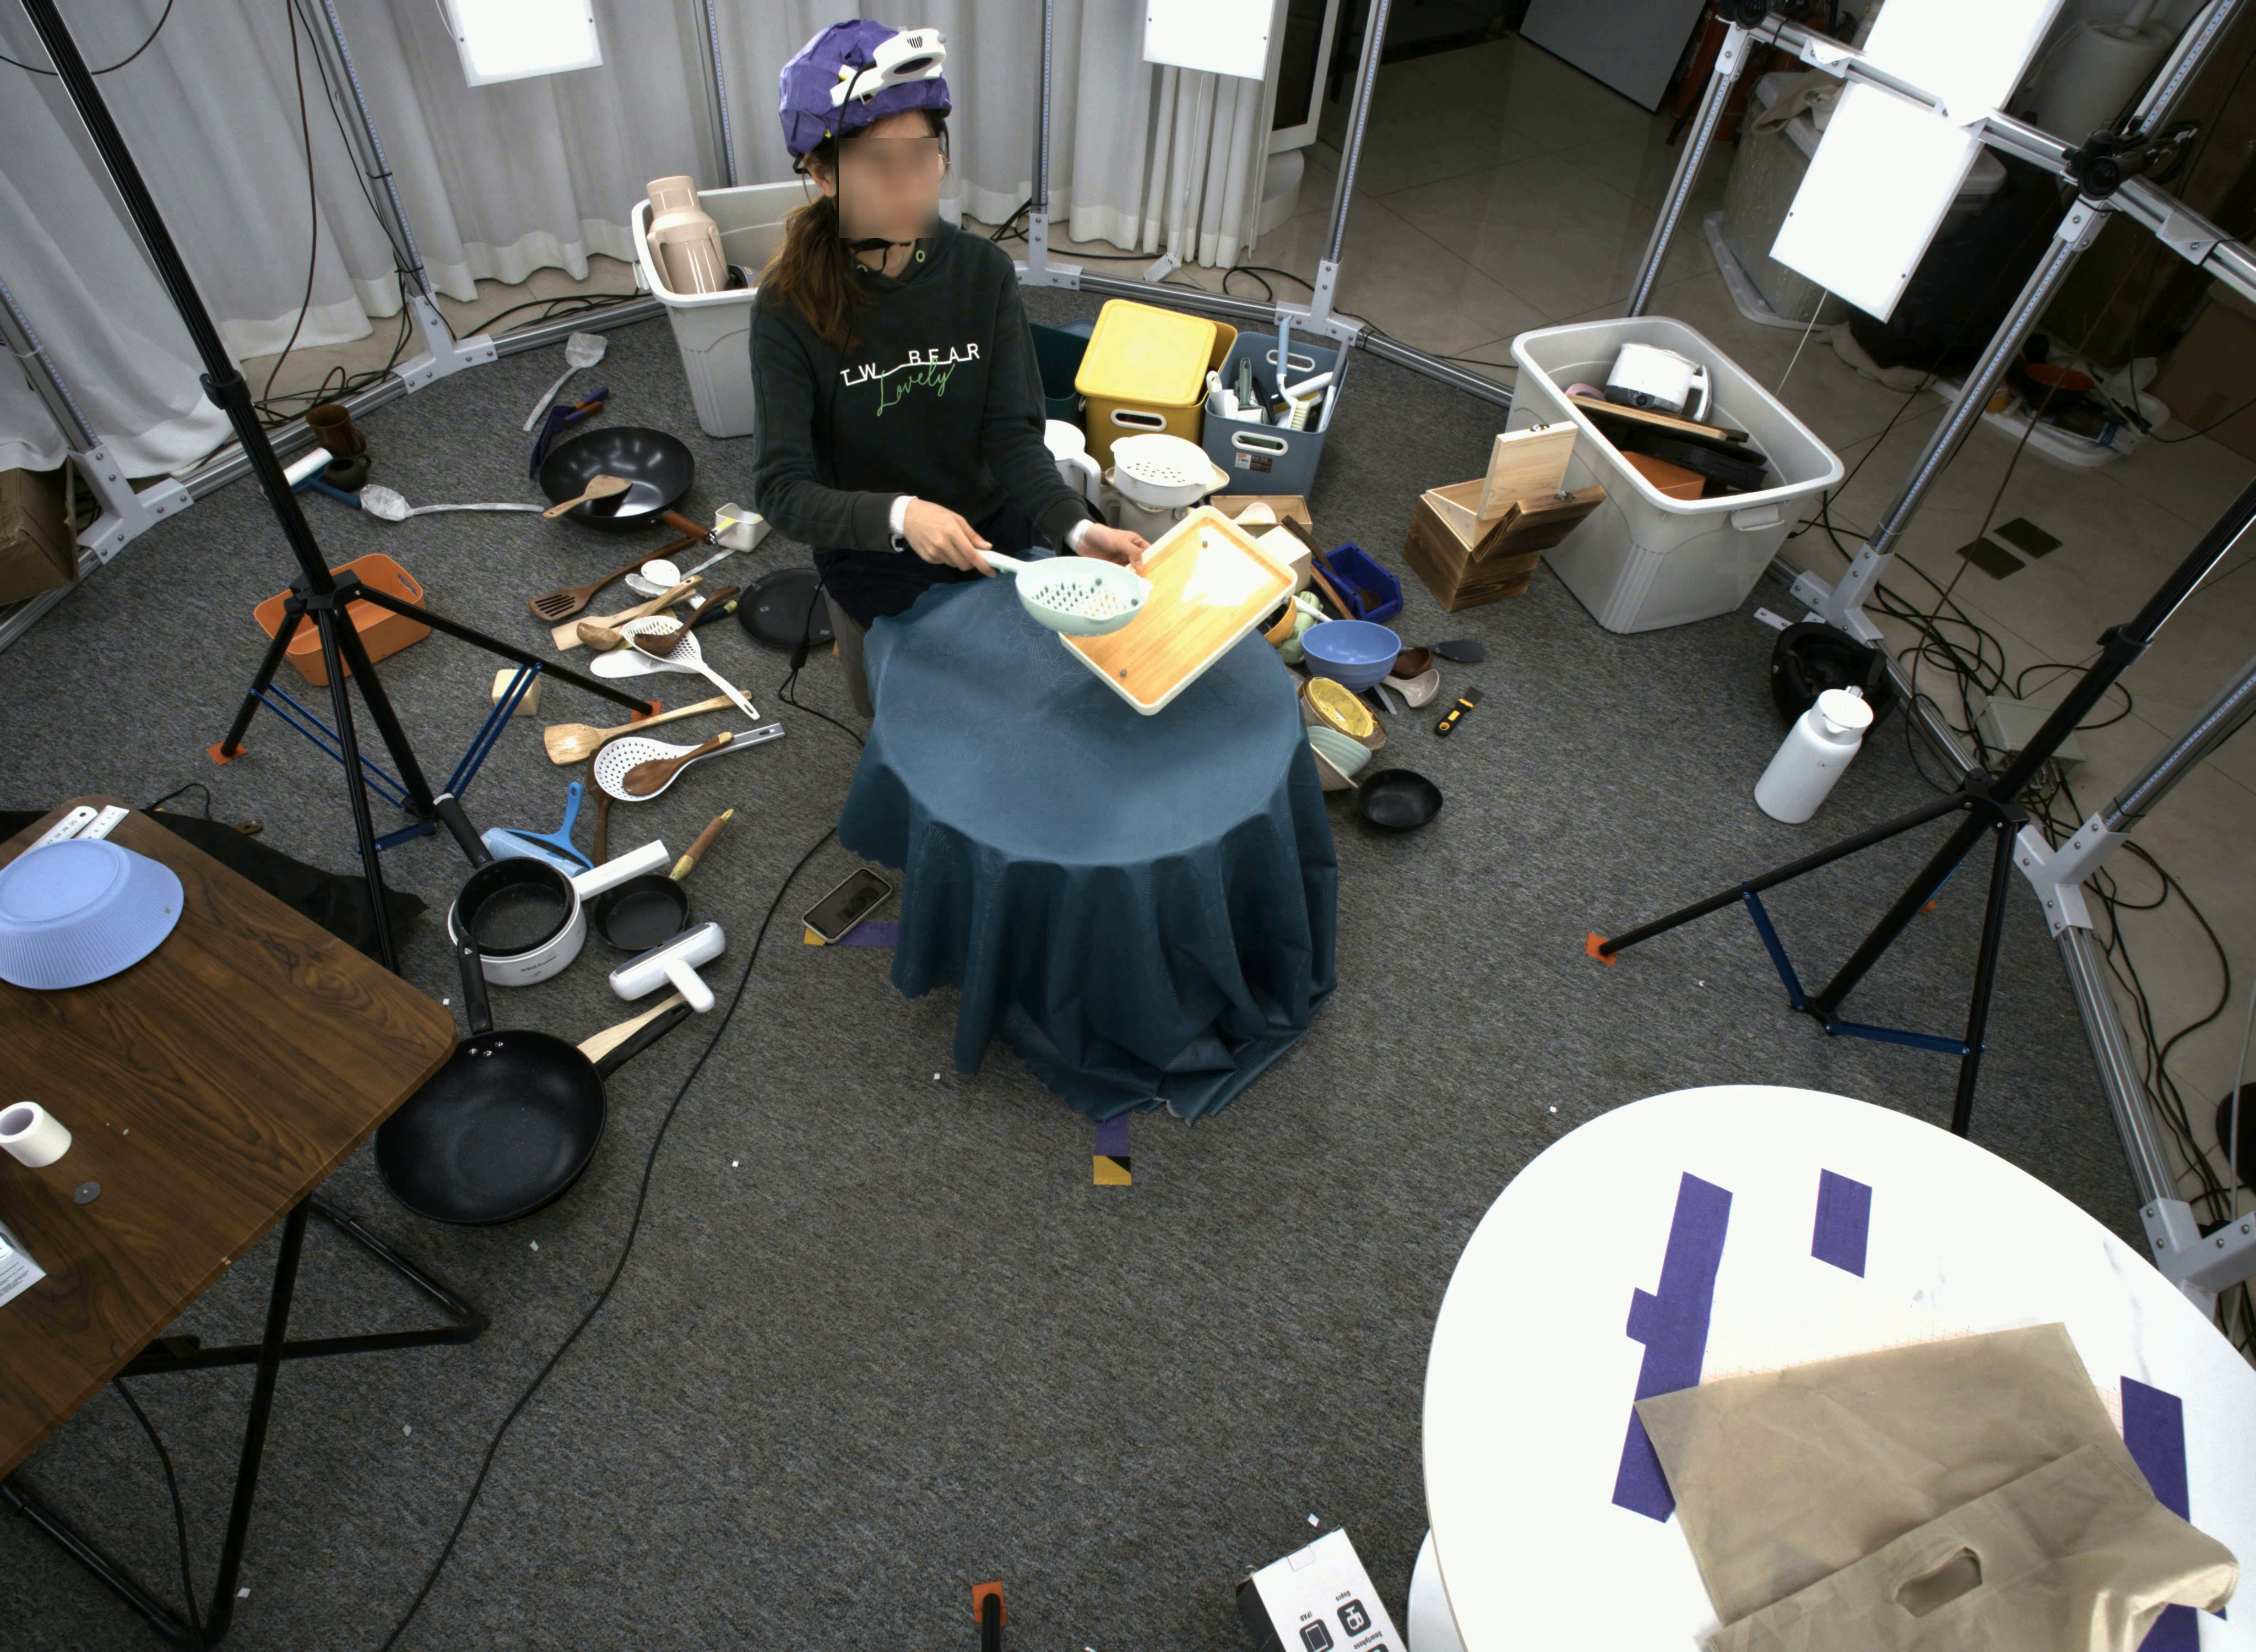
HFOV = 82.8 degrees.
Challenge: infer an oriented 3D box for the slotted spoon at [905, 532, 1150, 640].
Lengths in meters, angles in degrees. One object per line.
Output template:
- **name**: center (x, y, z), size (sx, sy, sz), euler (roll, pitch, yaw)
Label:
- **slotted spoon**: center (-0.146, -0.332, 1.698), size (0.362, 0.074, 0.171), euler (30, 39, 17)

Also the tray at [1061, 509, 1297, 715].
- **tray**: center (0.071, -0.303, 1.796), size (0.302, 0.027, 0.194), euler (-41, 67, -15)
